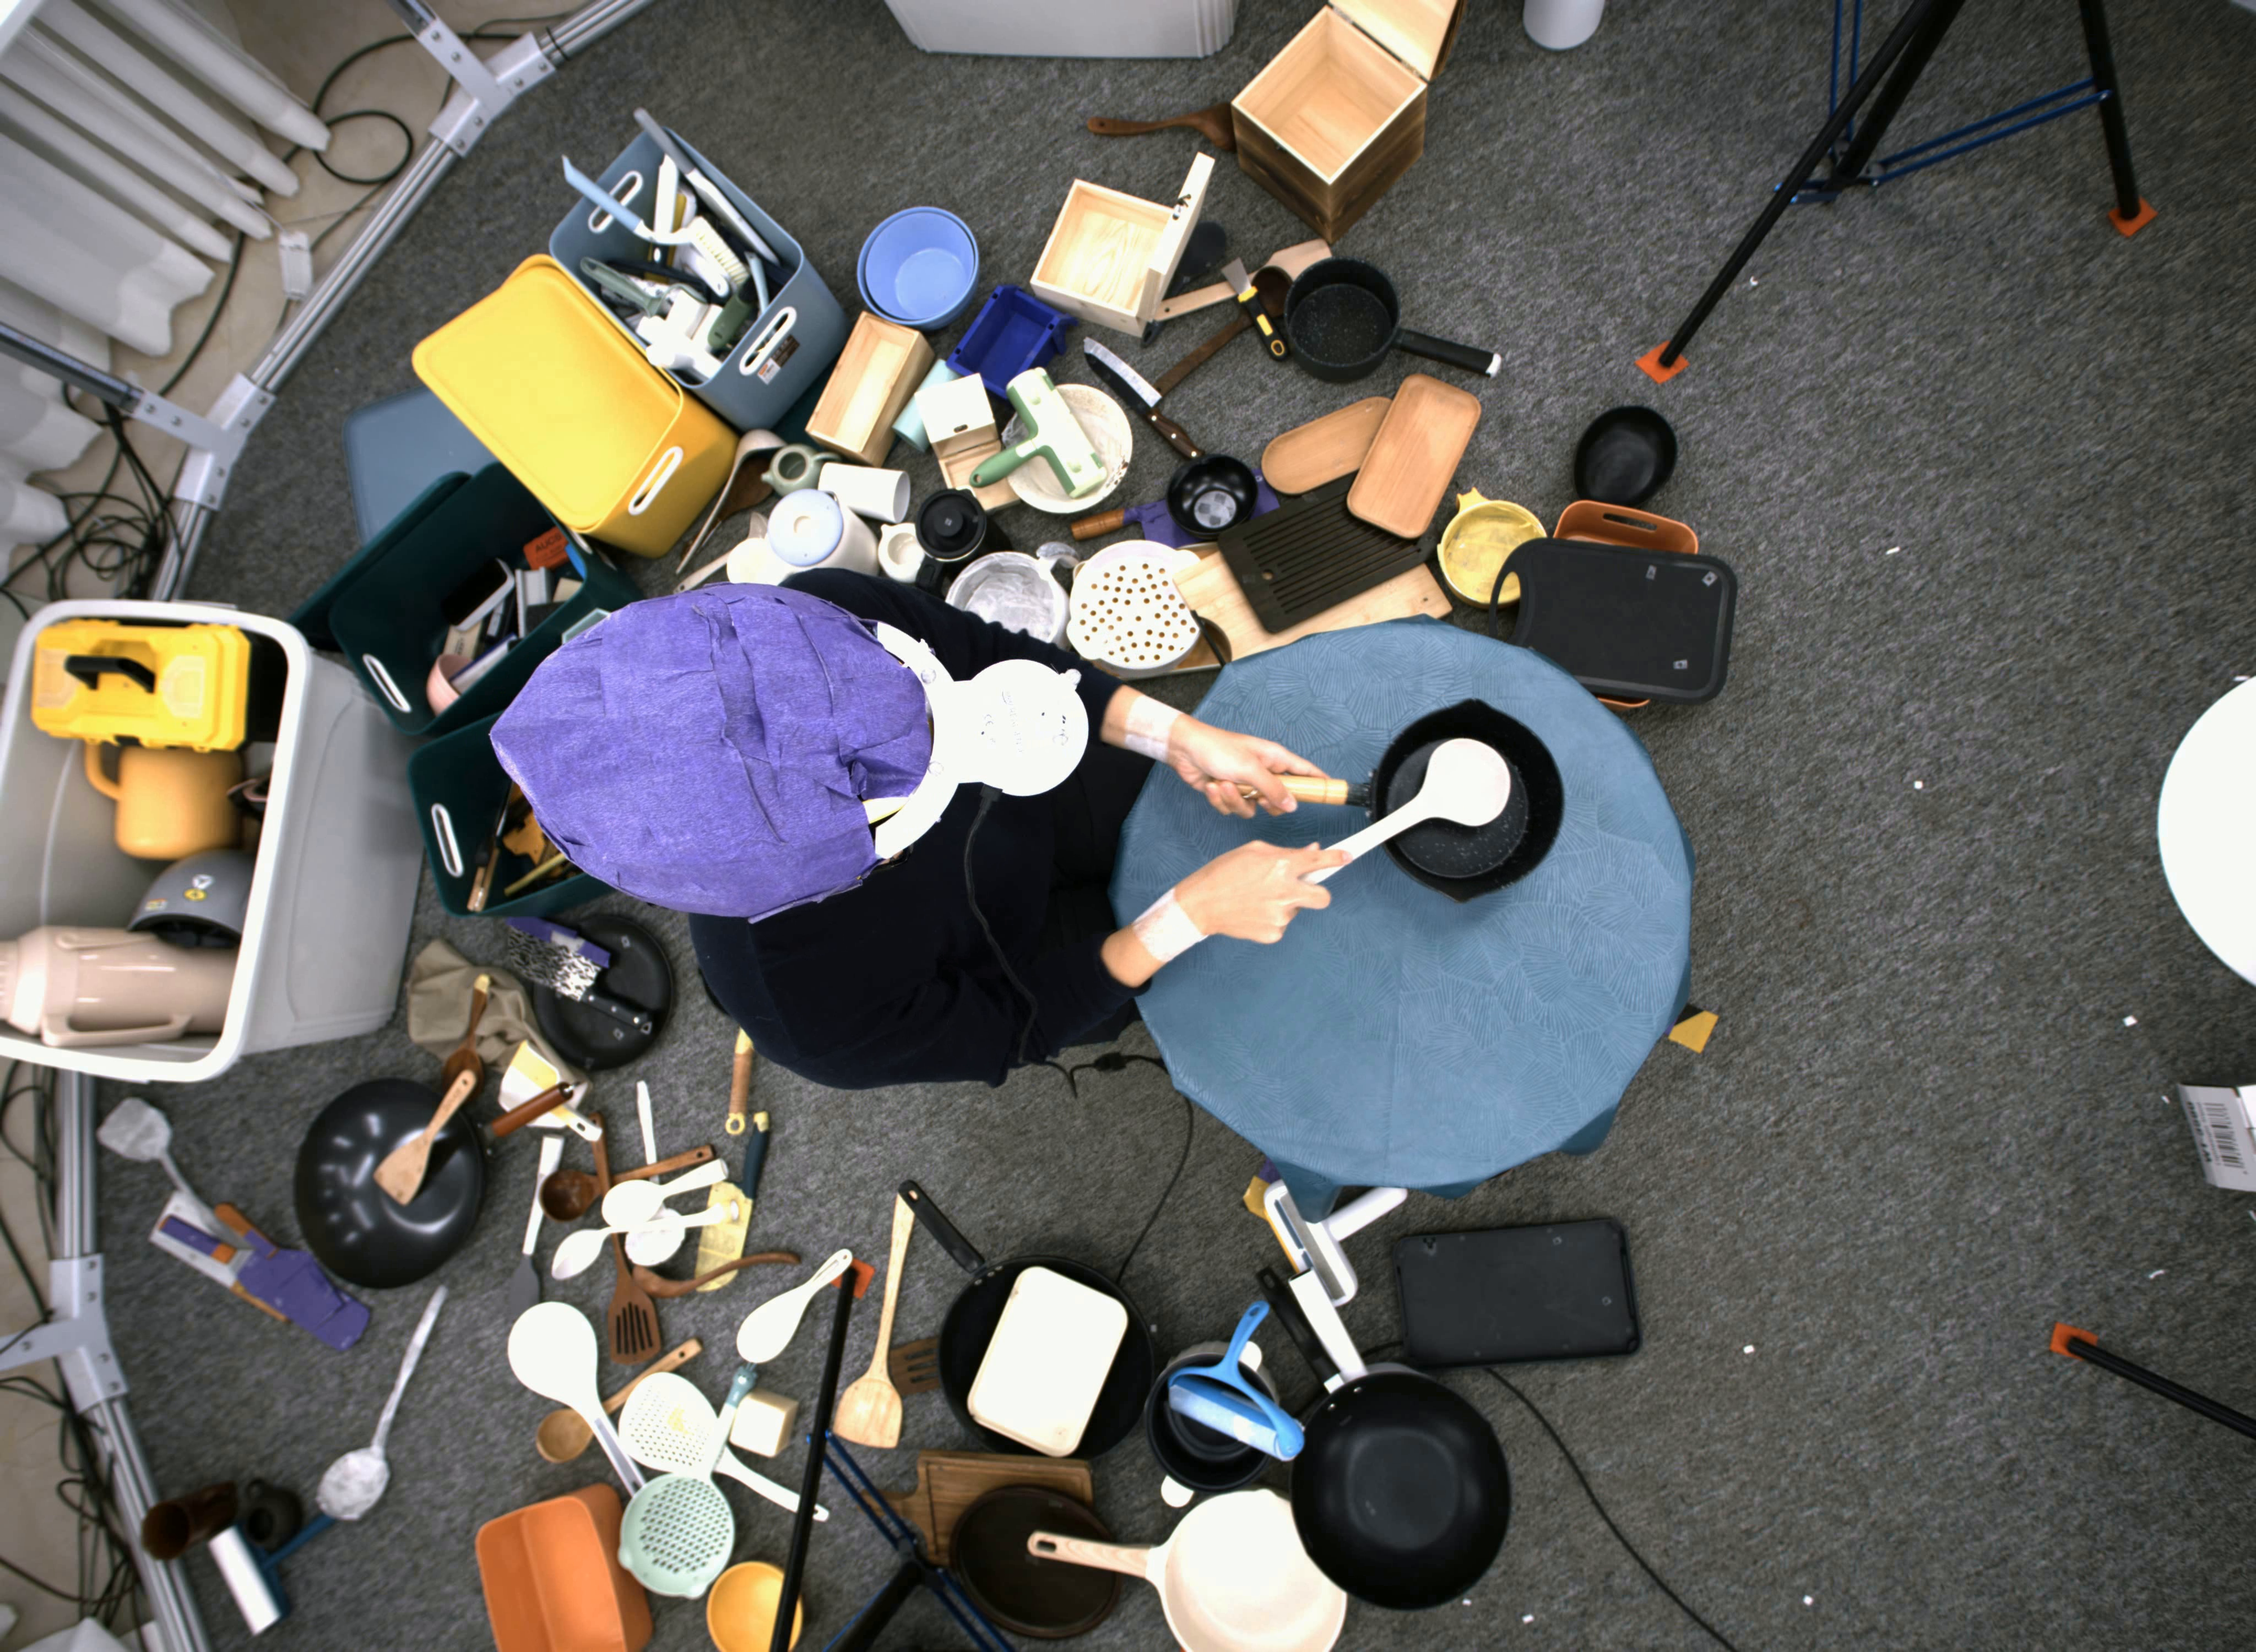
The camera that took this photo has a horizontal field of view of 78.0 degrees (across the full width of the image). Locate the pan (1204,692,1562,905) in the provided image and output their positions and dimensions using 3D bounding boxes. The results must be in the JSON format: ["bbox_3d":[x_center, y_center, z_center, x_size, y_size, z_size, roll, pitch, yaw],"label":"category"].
[{"bbox_3d":[0.248,-0.030,1.361,0.344,0.108,0.207,3,89,6],"label":"pan"}]

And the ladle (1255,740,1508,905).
[{"bbox_3d":[0.243,0.003,1.311,0.271,0.070,0.089,-28,92,-21],"label":"ladle"}]
